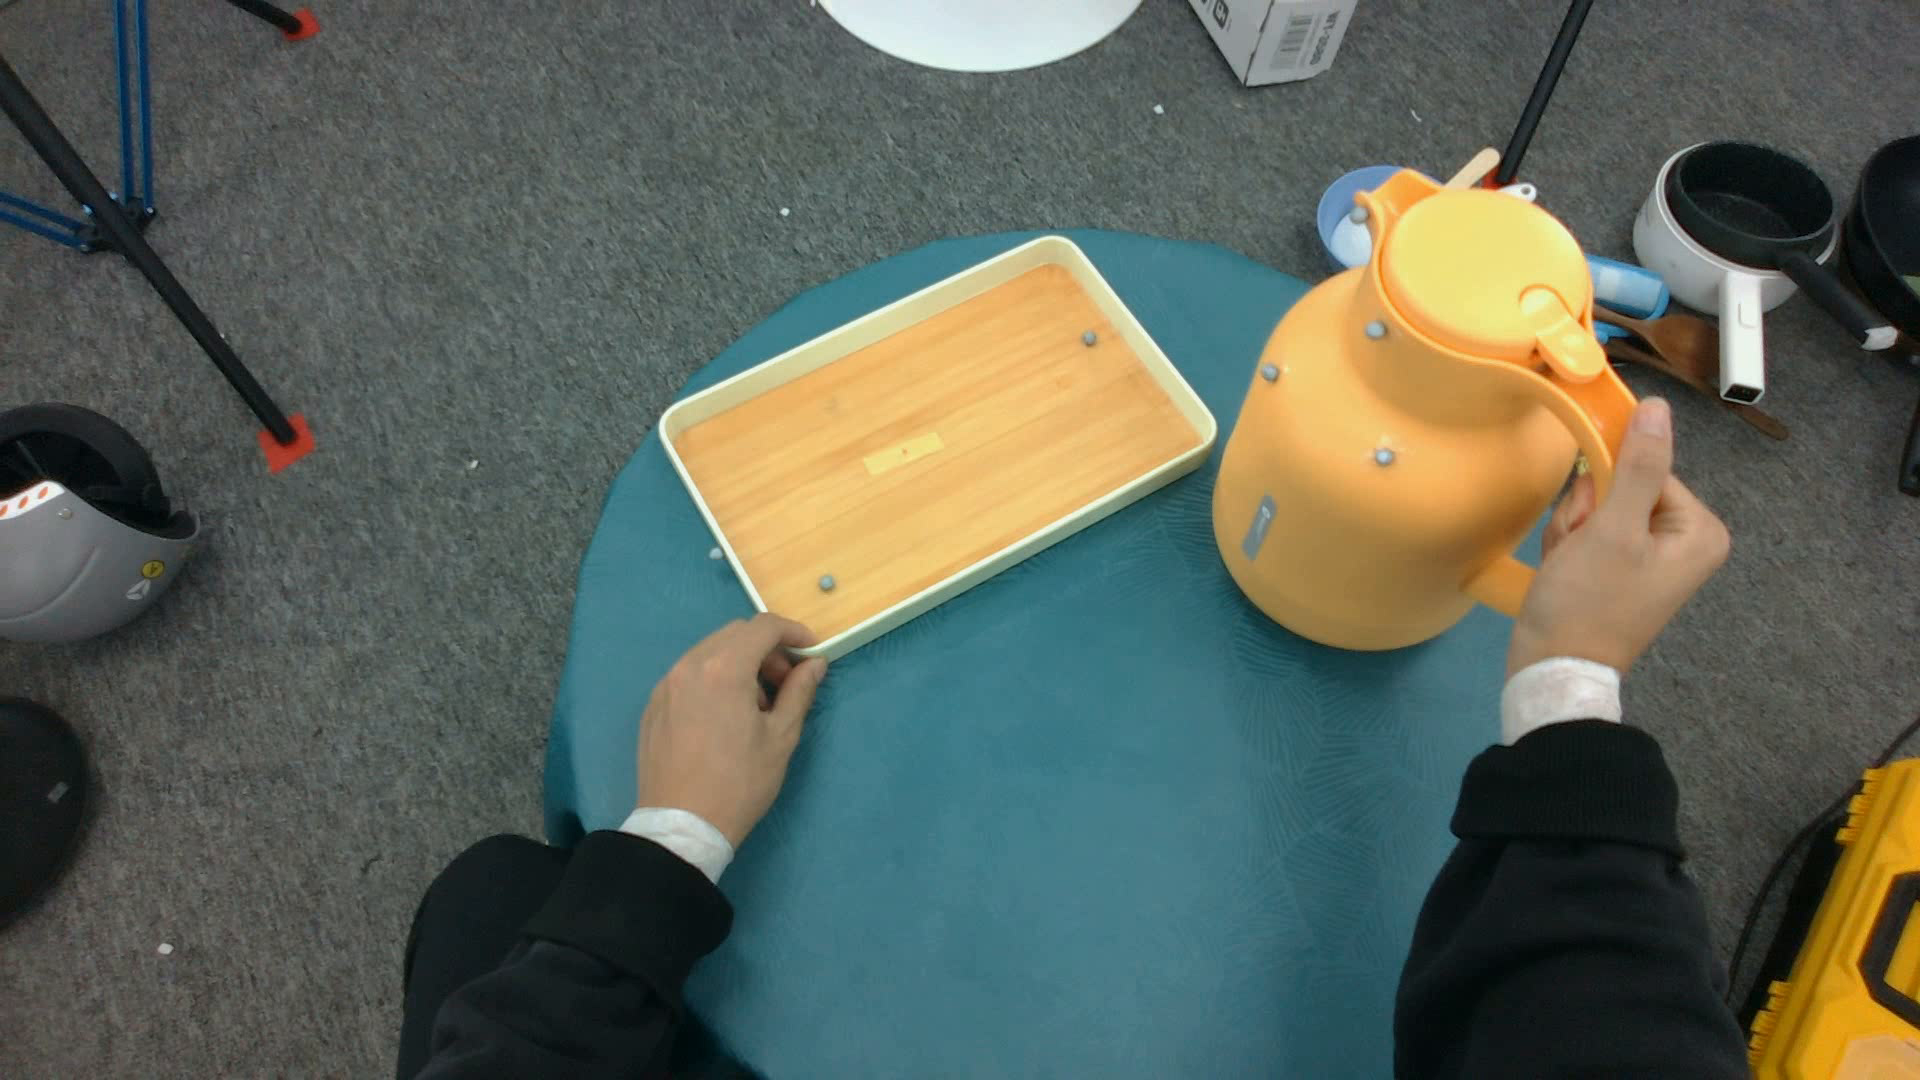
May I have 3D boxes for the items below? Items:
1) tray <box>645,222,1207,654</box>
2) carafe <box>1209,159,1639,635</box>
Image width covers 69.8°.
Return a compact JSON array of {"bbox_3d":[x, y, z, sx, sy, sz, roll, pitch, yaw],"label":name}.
[{"bbox_3d":[-0.020,-0.072,0.842,0.301,0.027,0.192,-27,65,-15],"label":"tray"},{"bbox_3d":[0.234,-0.053,0.706,0.164,0.259,0.203,-26,64,-13],"label":"carafe"}]
